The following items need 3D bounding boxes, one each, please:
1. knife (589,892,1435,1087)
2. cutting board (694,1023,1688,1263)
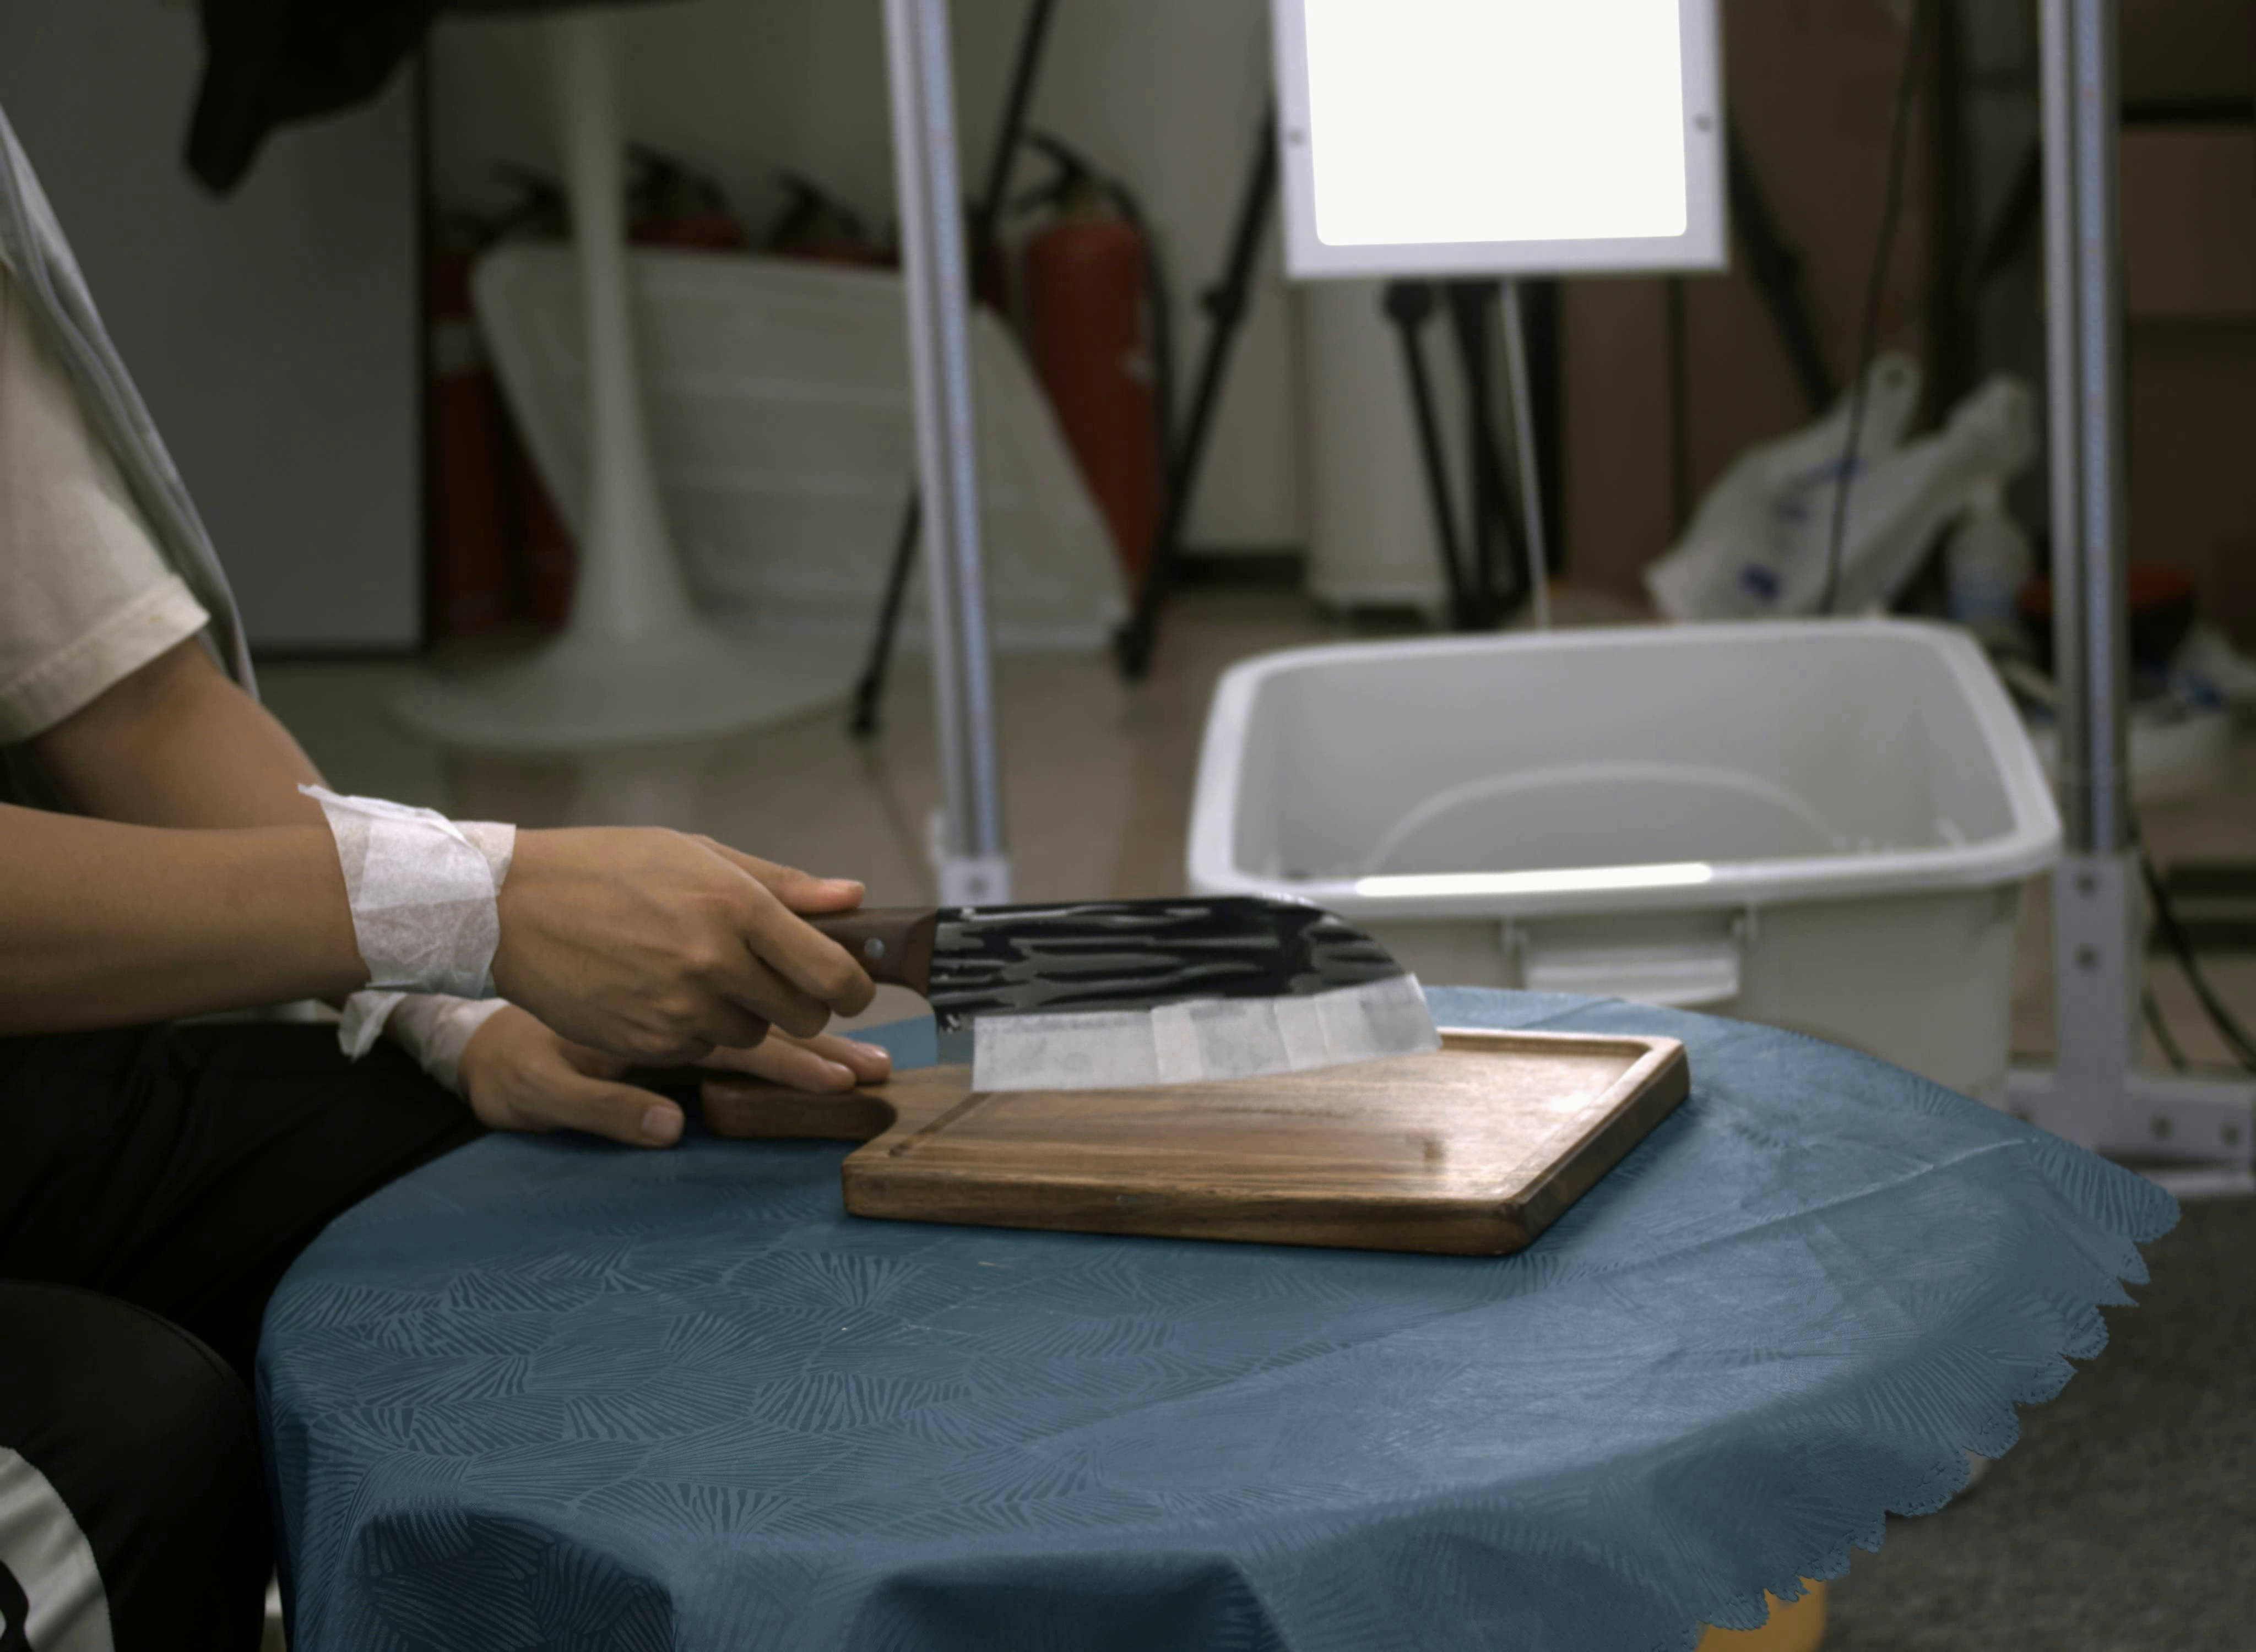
[{"bbox_3d":[-0.041,0.058,1.939,0.300,0.068,0.024,-1,8,8],"label":"knife"},{"bbox_3d":[0.006,0.105,1.947,0.358,0.023,0.197,1,16,25],"label":"cutting board"}]
